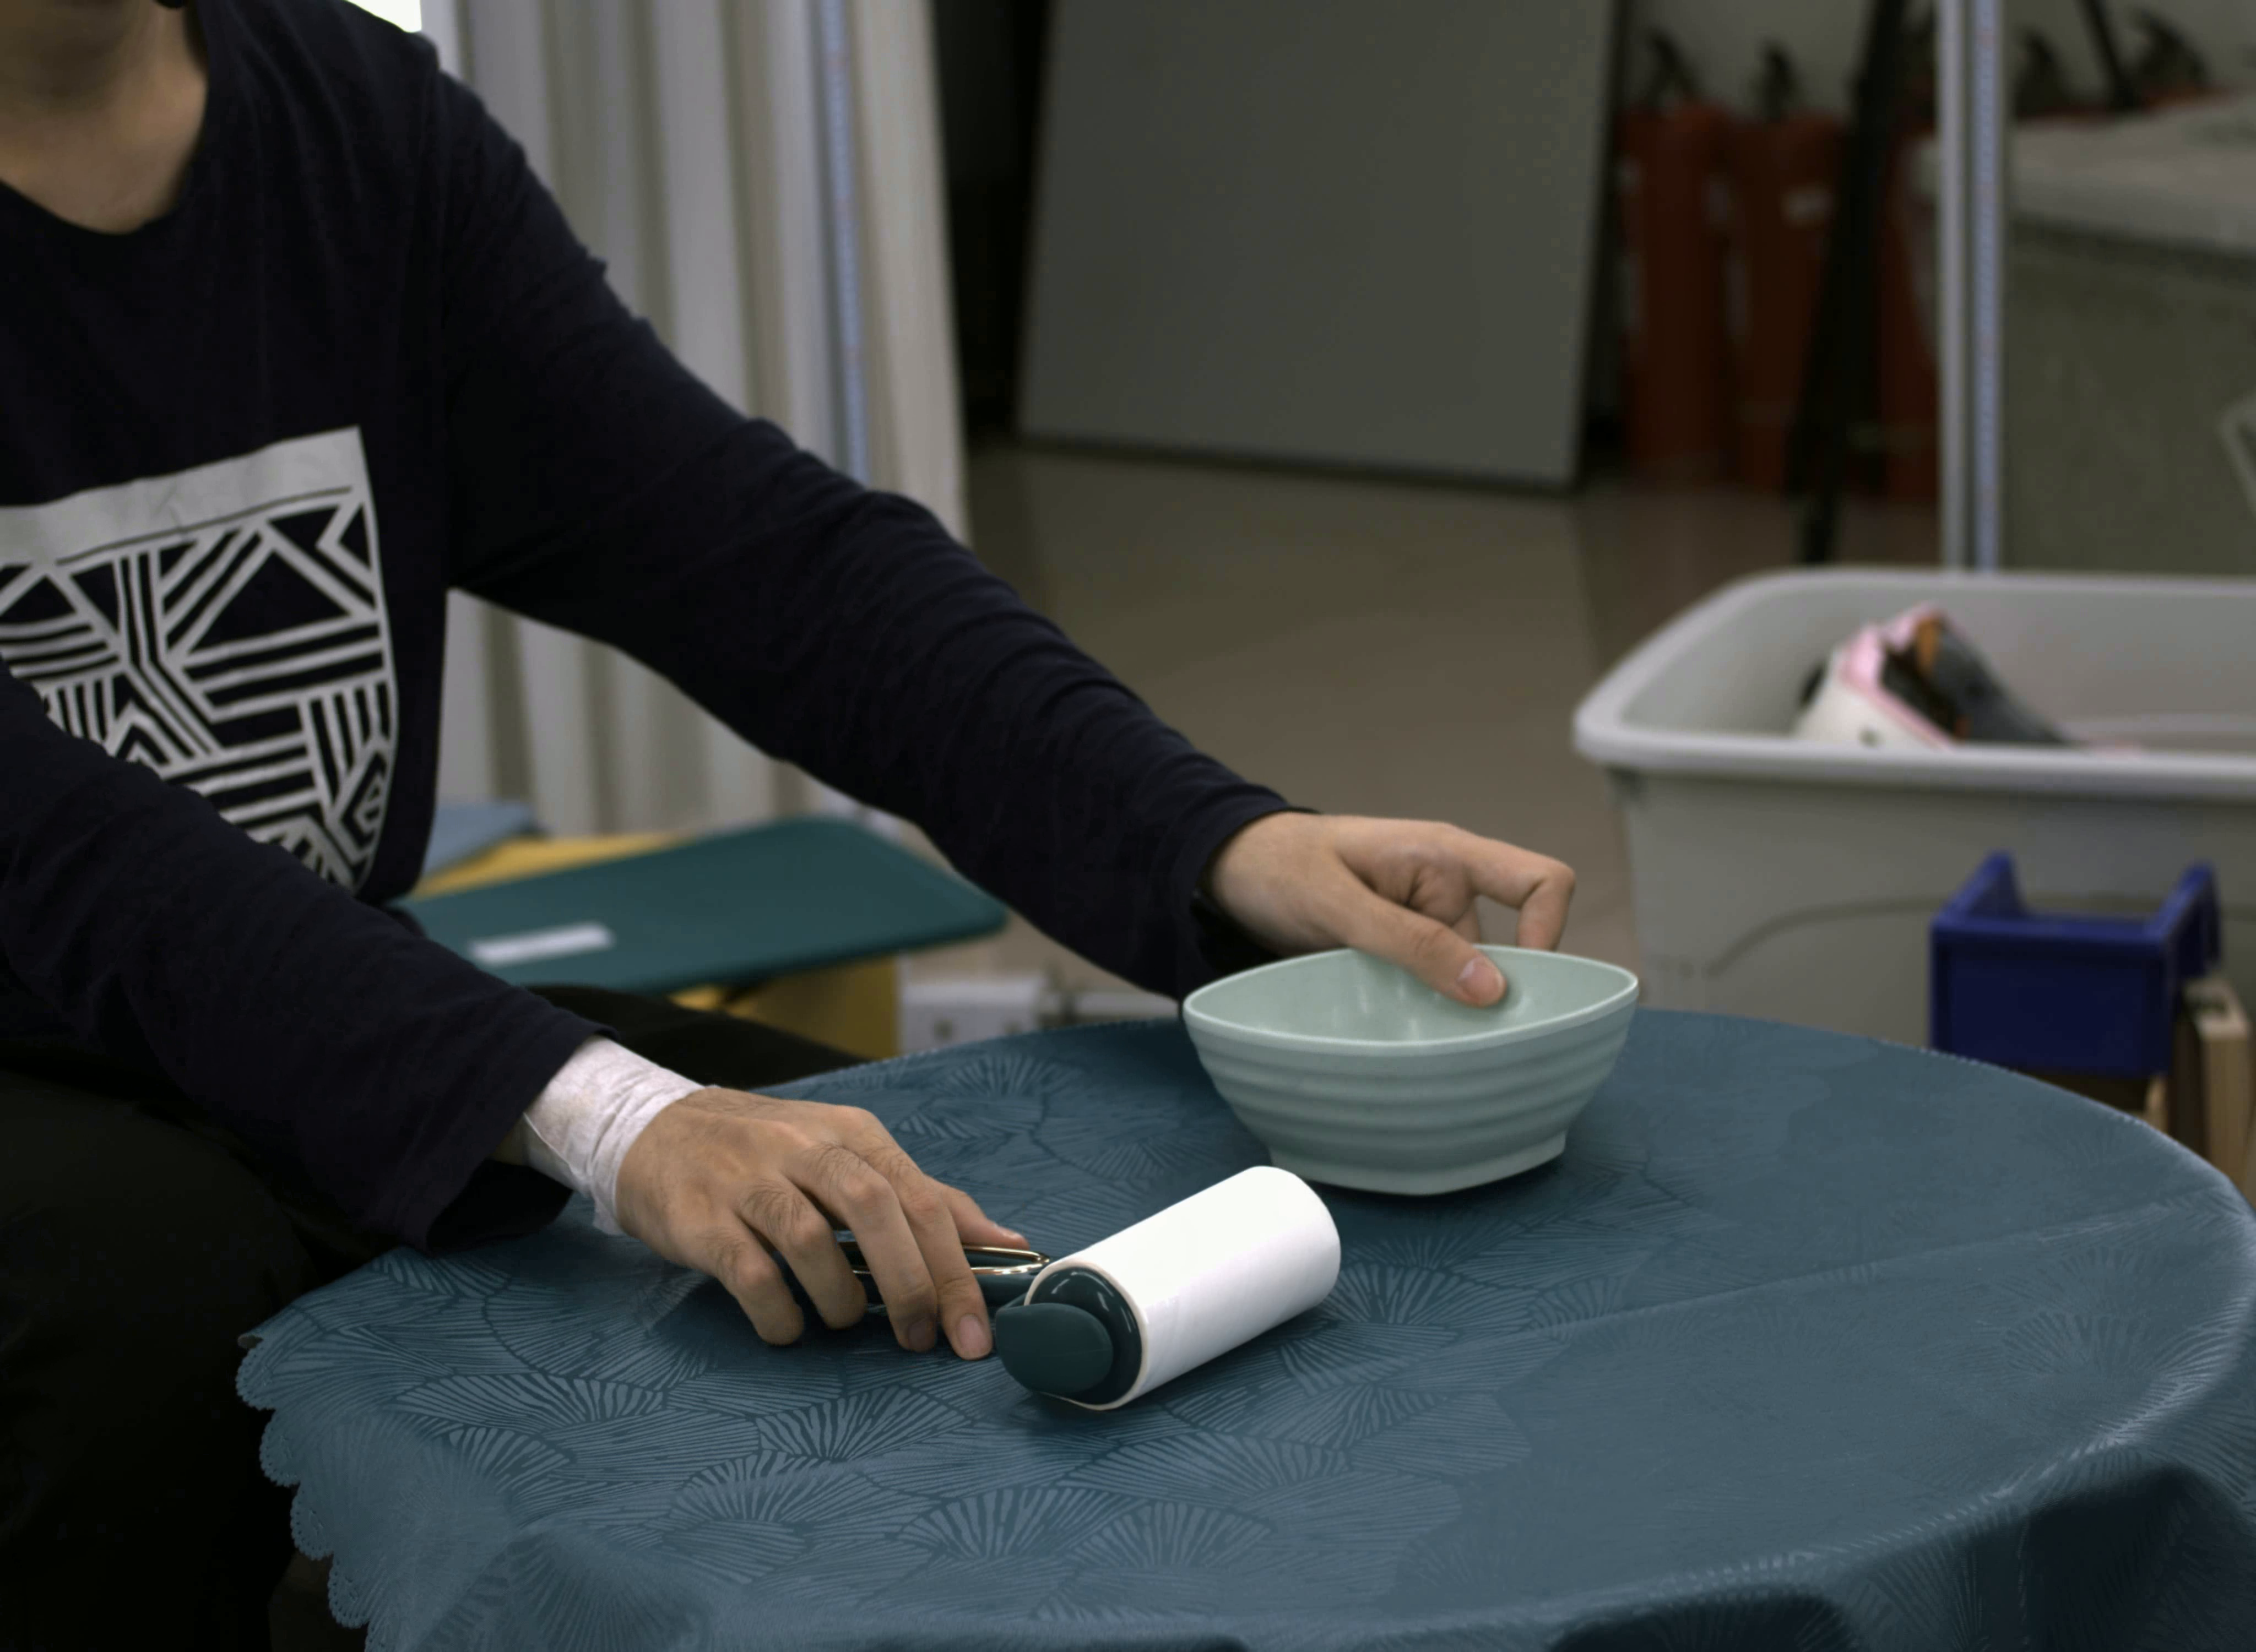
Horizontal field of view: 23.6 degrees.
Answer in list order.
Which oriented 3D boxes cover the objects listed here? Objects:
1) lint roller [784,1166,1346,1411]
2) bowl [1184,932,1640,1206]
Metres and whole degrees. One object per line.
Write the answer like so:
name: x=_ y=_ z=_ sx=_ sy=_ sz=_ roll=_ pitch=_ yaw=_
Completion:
lint roller: x=-0.036 y=0.135 z=1.646 sx=0.181 sy=0.049 sz=0.132 roll=2 pitch=14 yaw=38
bowl: x=0.094 y=0.082 z=1.772 sx=0.149 sy=0.059 sz=0.152 roll=-3 pitch=14 yaw=0
